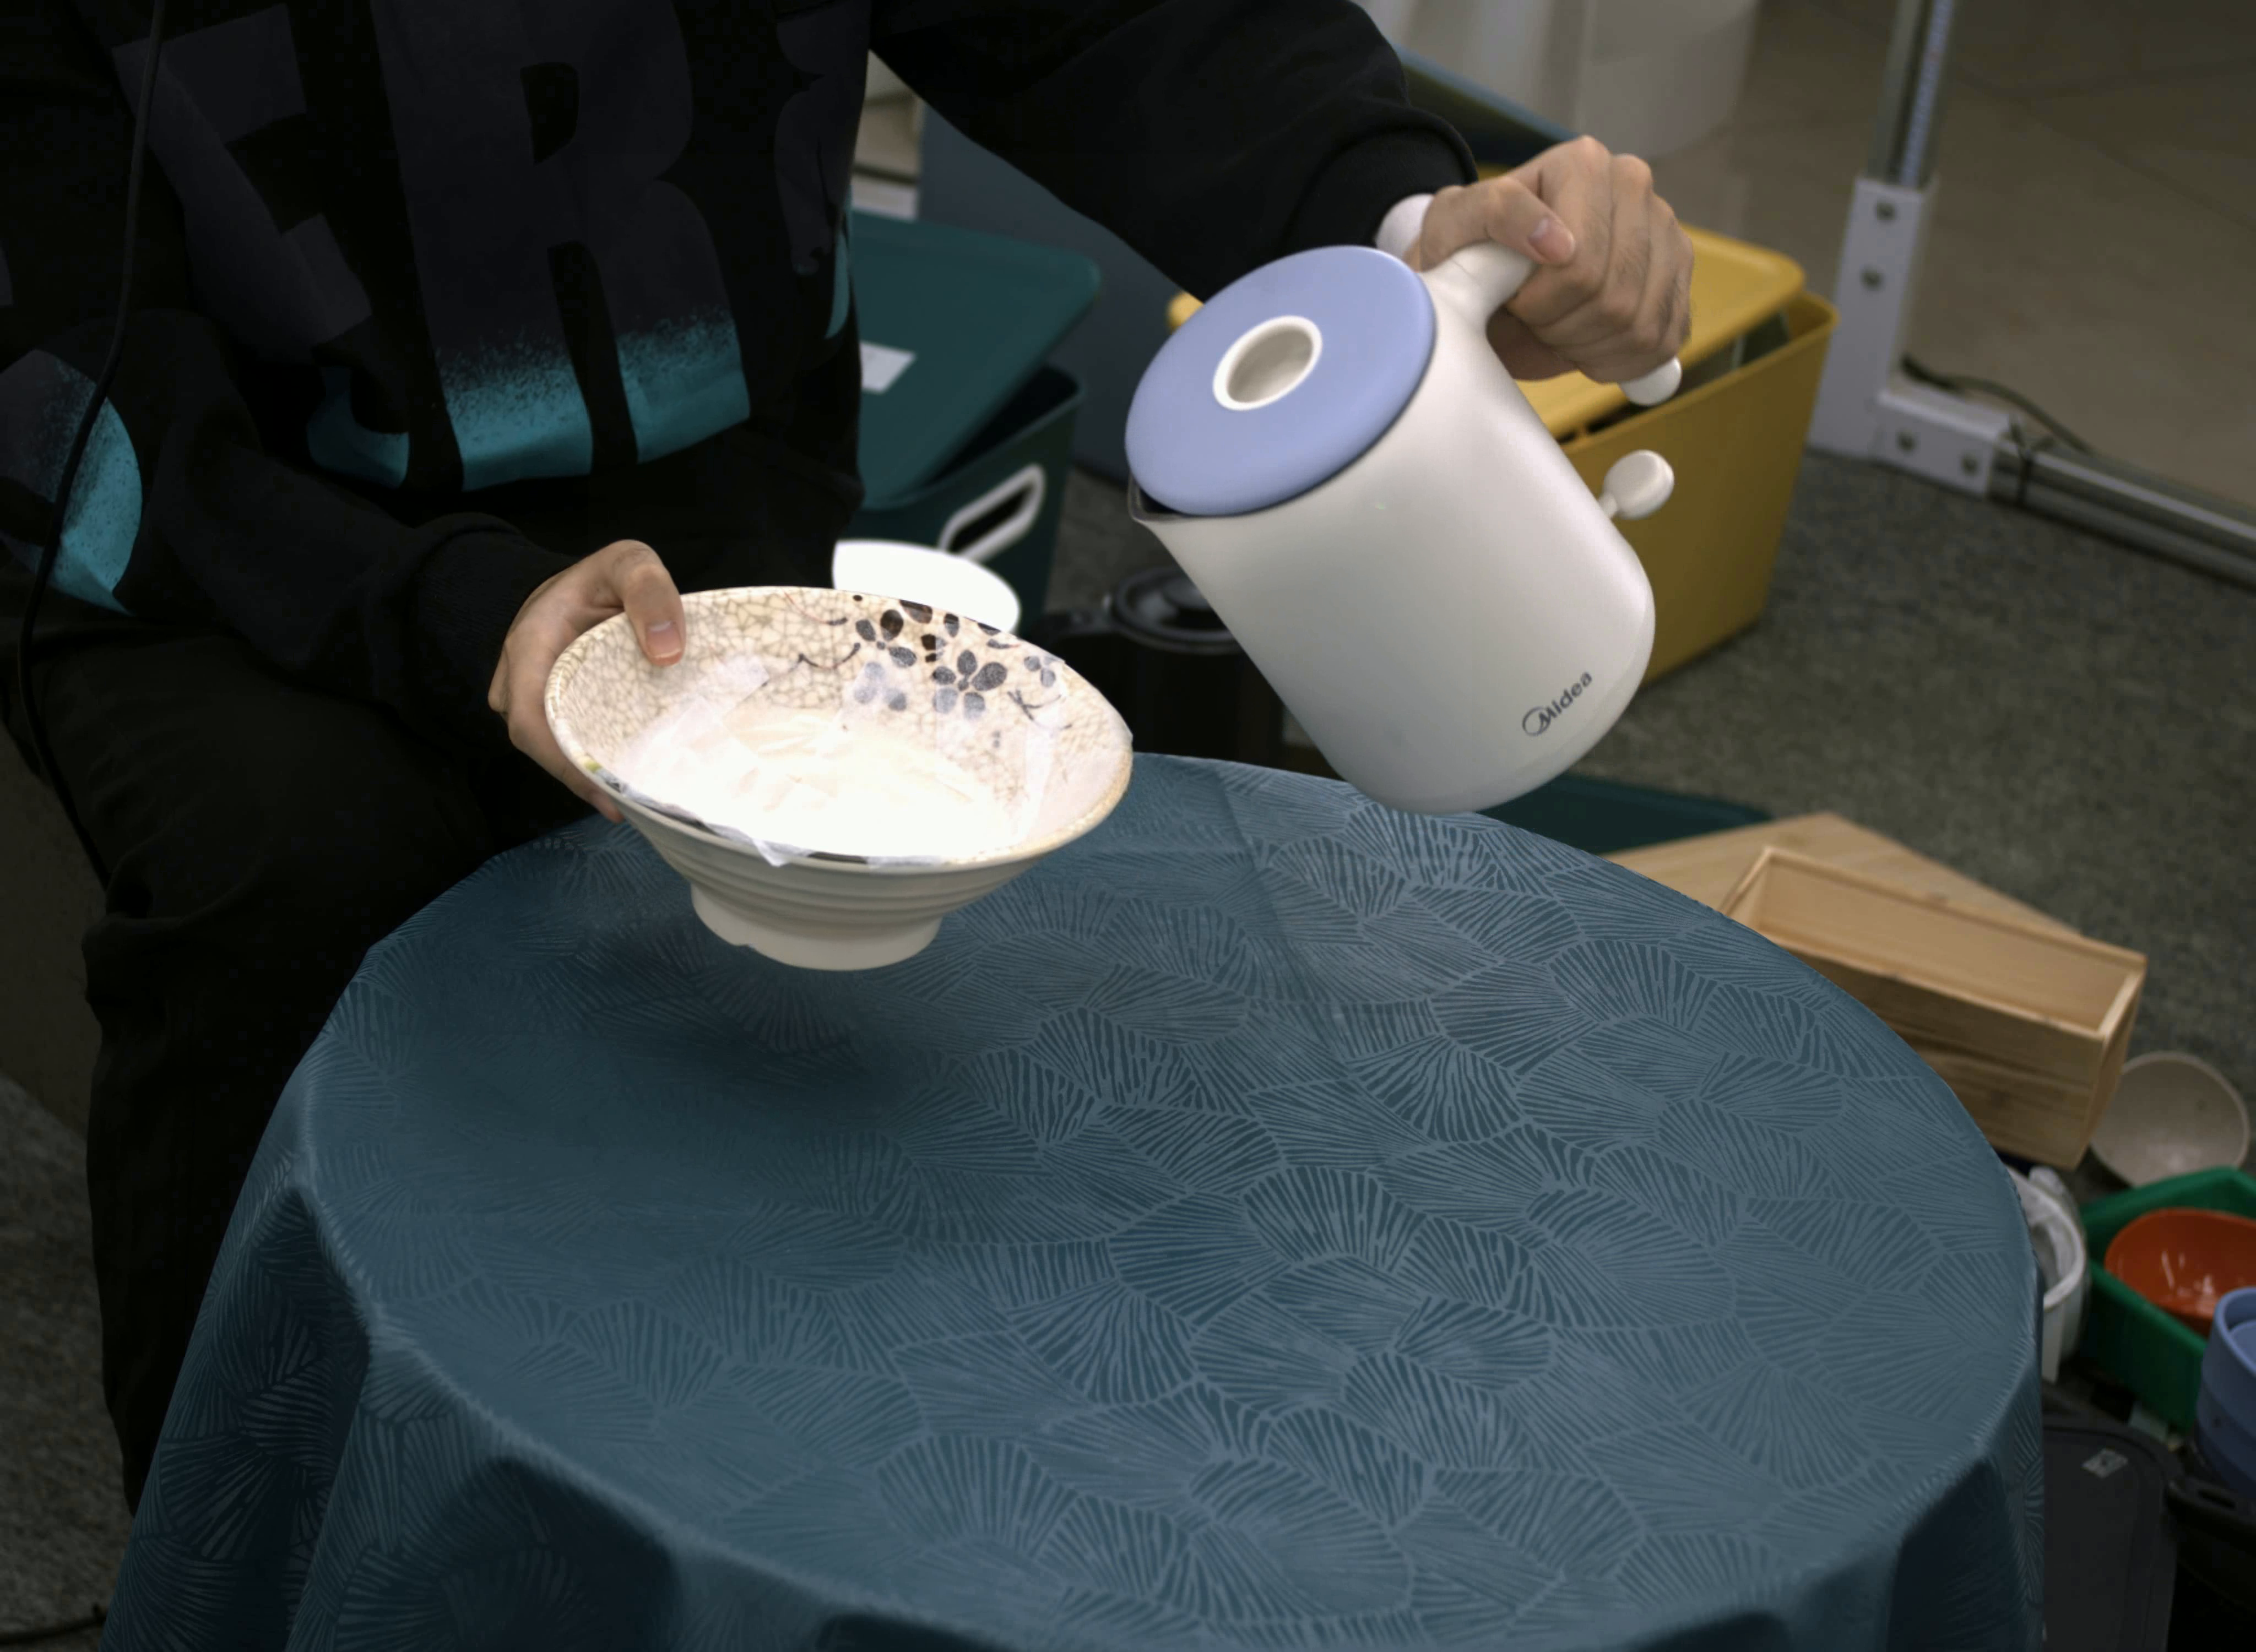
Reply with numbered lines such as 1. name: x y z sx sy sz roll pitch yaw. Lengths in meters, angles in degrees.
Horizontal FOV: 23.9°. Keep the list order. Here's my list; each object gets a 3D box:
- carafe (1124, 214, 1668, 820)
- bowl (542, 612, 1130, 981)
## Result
1. carafe: 0.108 -0.118 1.853 0.191 0.181 0.133 -41 39 -8
2. bowl: -0.104 0.000 1.838 0.203 0.078 0.205 6 23 -3
